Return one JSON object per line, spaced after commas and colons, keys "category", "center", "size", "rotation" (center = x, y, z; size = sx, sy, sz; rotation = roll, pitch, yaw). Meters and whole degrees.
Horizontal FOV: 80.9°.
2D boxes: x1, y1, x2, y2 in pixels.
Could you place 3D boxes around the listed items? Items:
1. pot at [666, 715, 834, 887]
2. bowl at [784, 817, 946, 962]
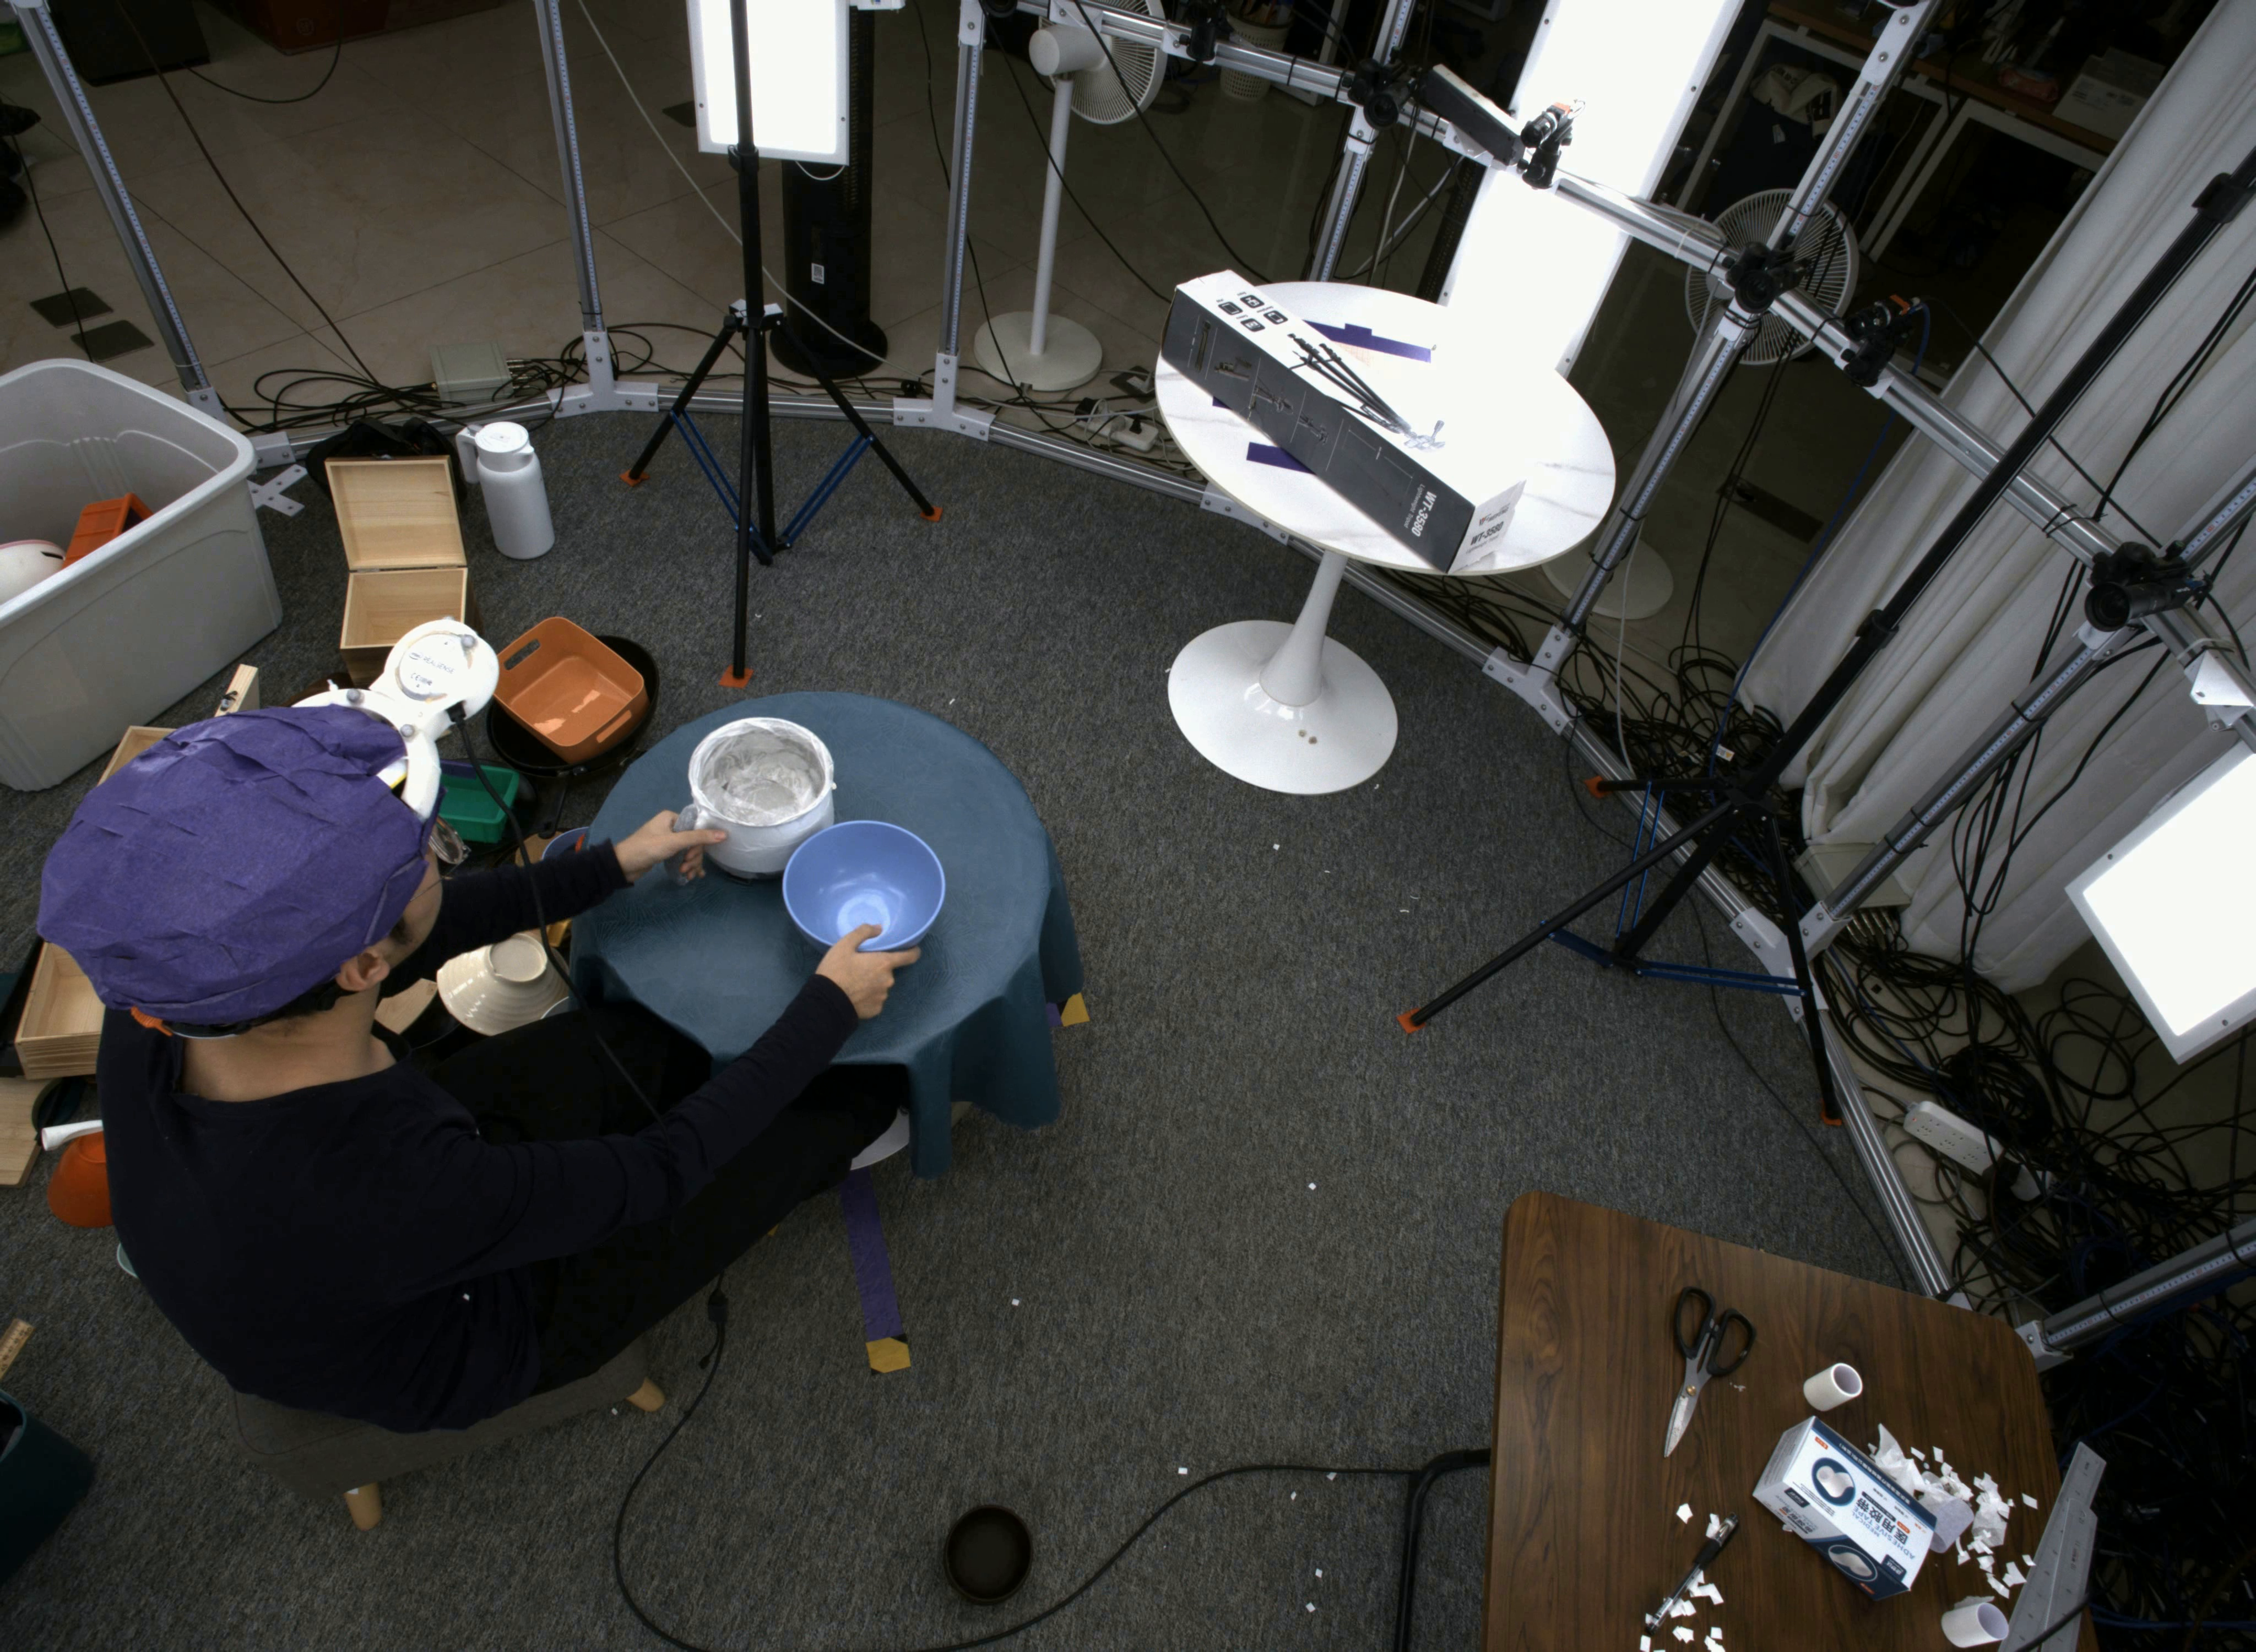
{"category": "pot", "center": [-0.486, -0.019, 1.645], "size": [0.174, 0.140, 0.234], "rotation": [38, 54, 19]}
{"category": "bowl", "center": [-0.330, 0.094, 1.623], "size": [0.196, 0.097, 0.193], "rotation": [10, 49, -10]}
